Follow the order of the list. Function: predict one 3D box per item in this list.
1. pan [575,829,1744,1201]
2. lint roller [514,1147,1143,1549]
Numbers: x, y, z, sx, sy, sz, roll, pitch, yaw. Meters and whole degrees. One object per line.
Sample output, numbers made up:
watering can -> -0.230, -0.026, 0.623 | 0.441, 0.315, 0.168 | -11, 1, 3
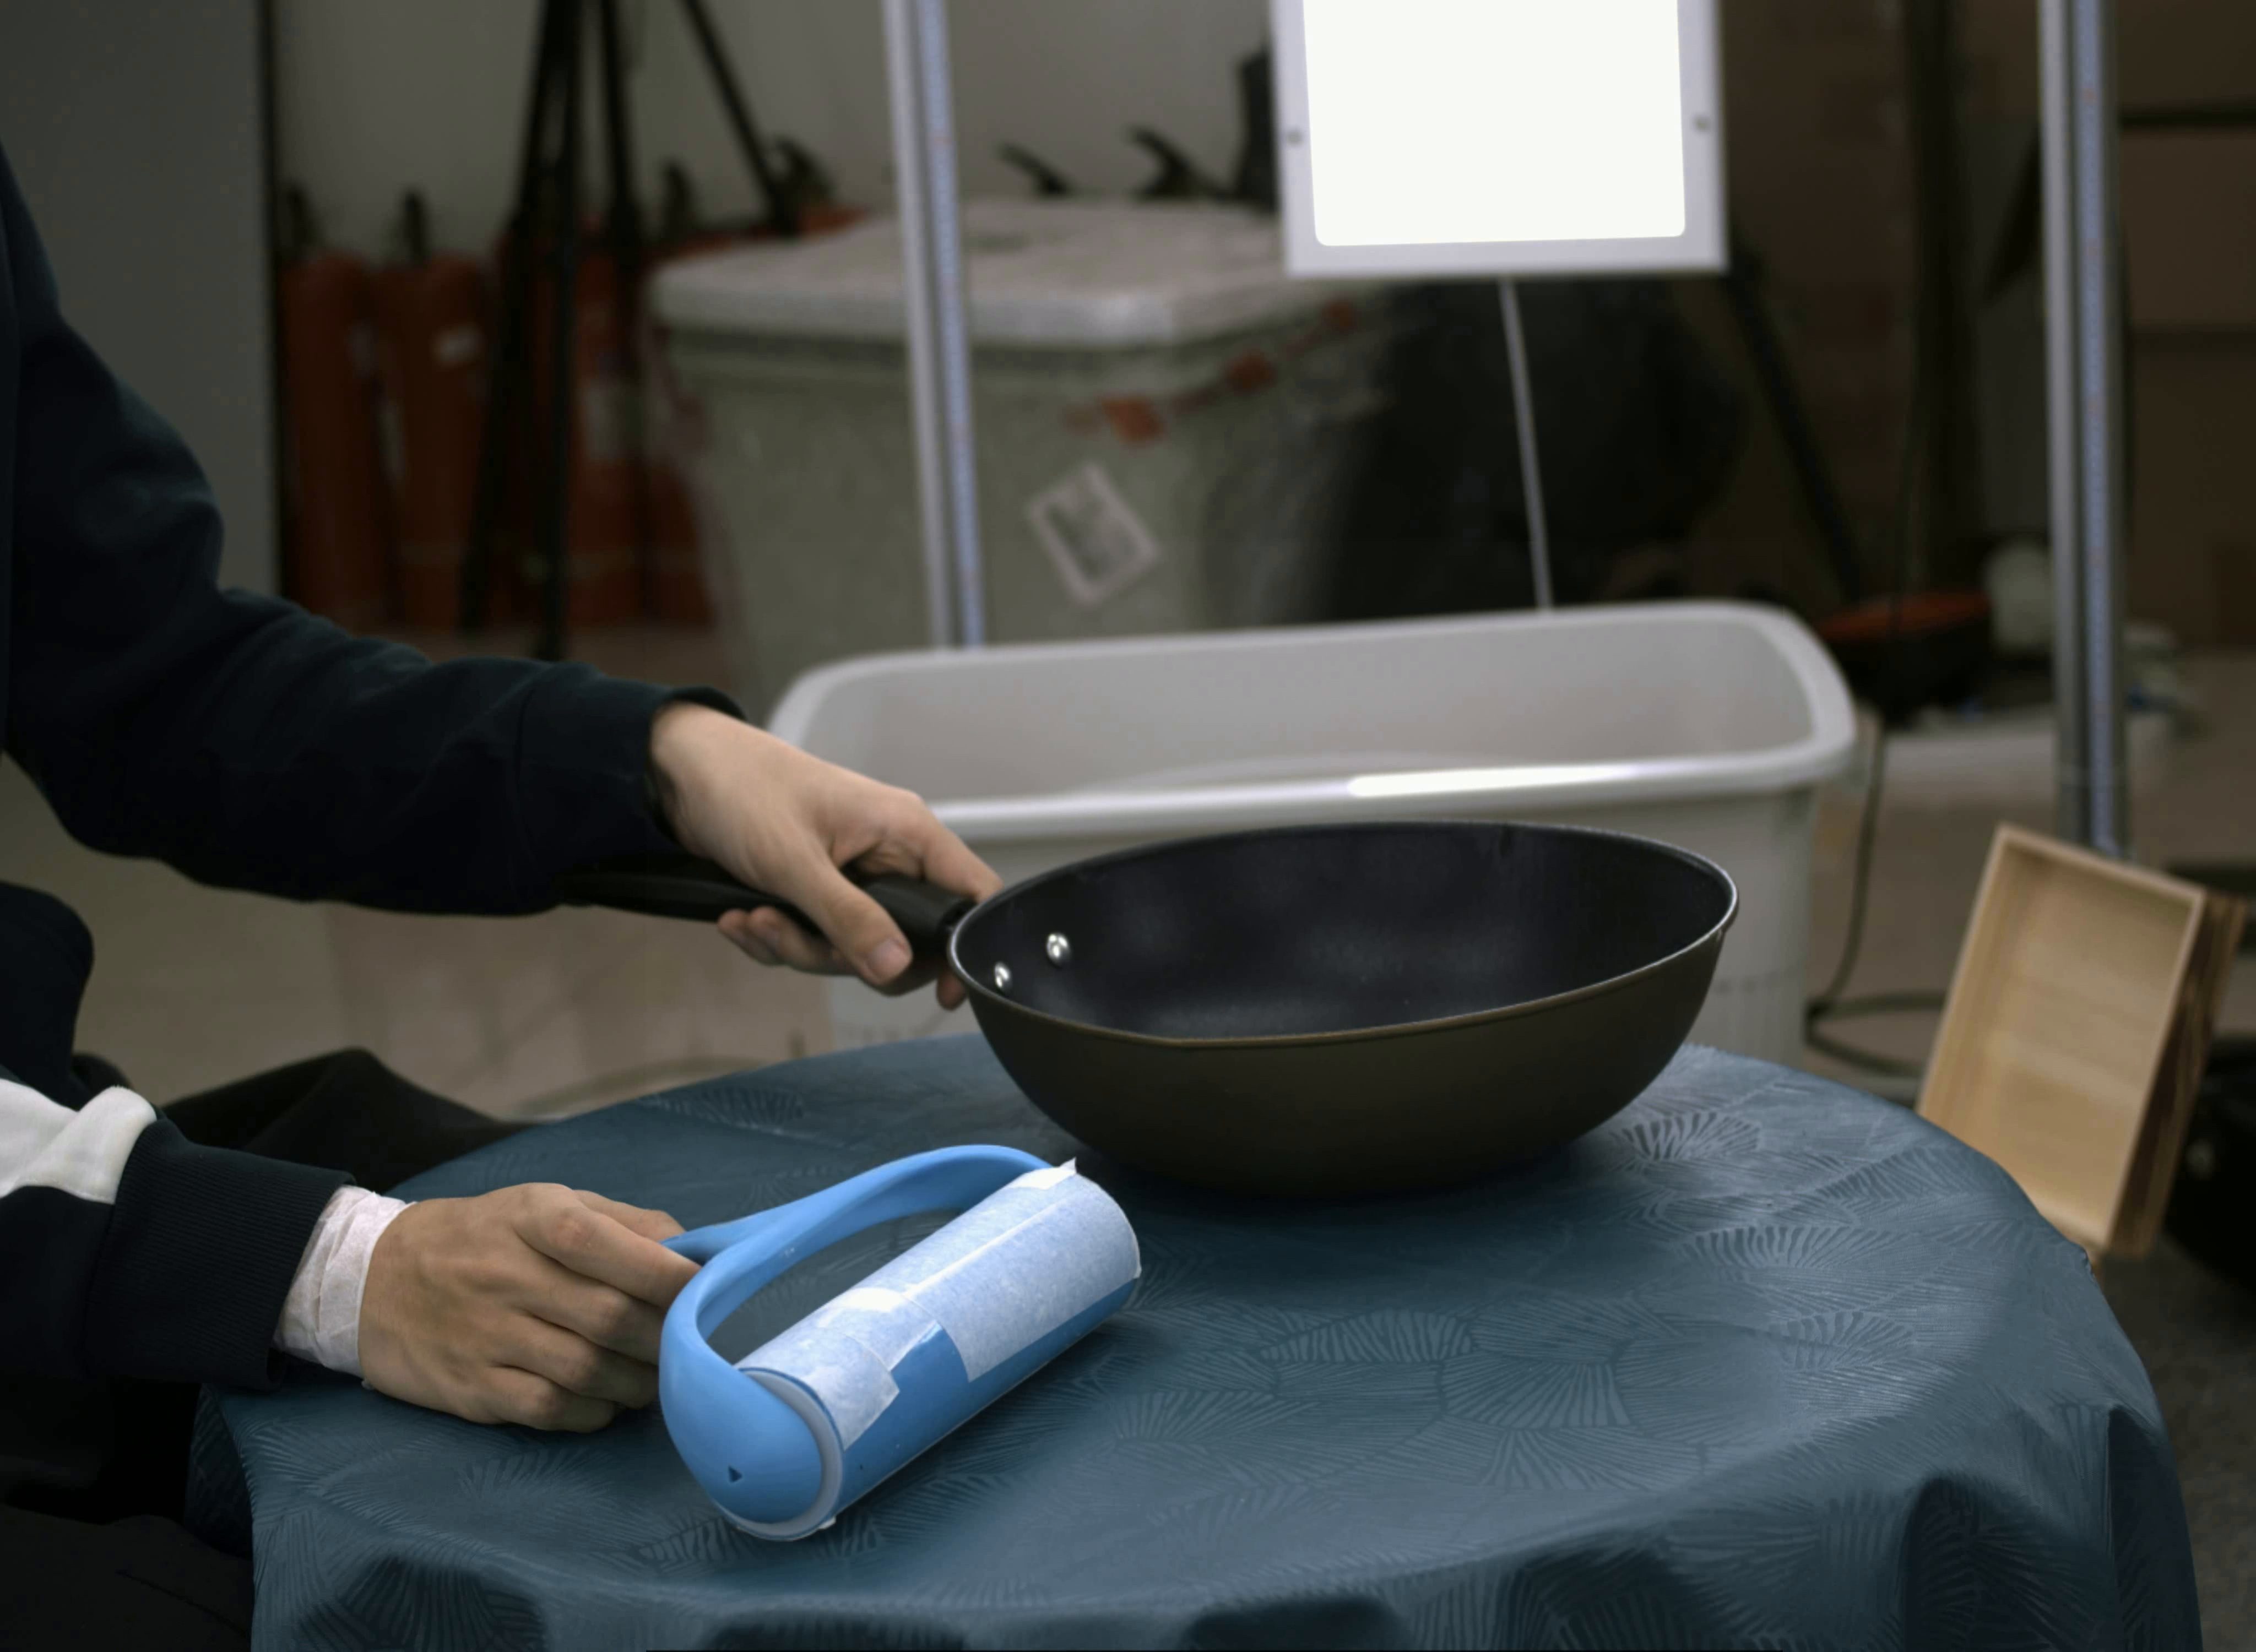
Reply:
pan -> -0.002, 0.067, 1.970 | 0.472, 0.087, 0.282 | 2, 15, 30
lint roller -> -0.114, 0.155, 1.702 | 0.183, 0.068, 0.224 | 3, 18, 24
